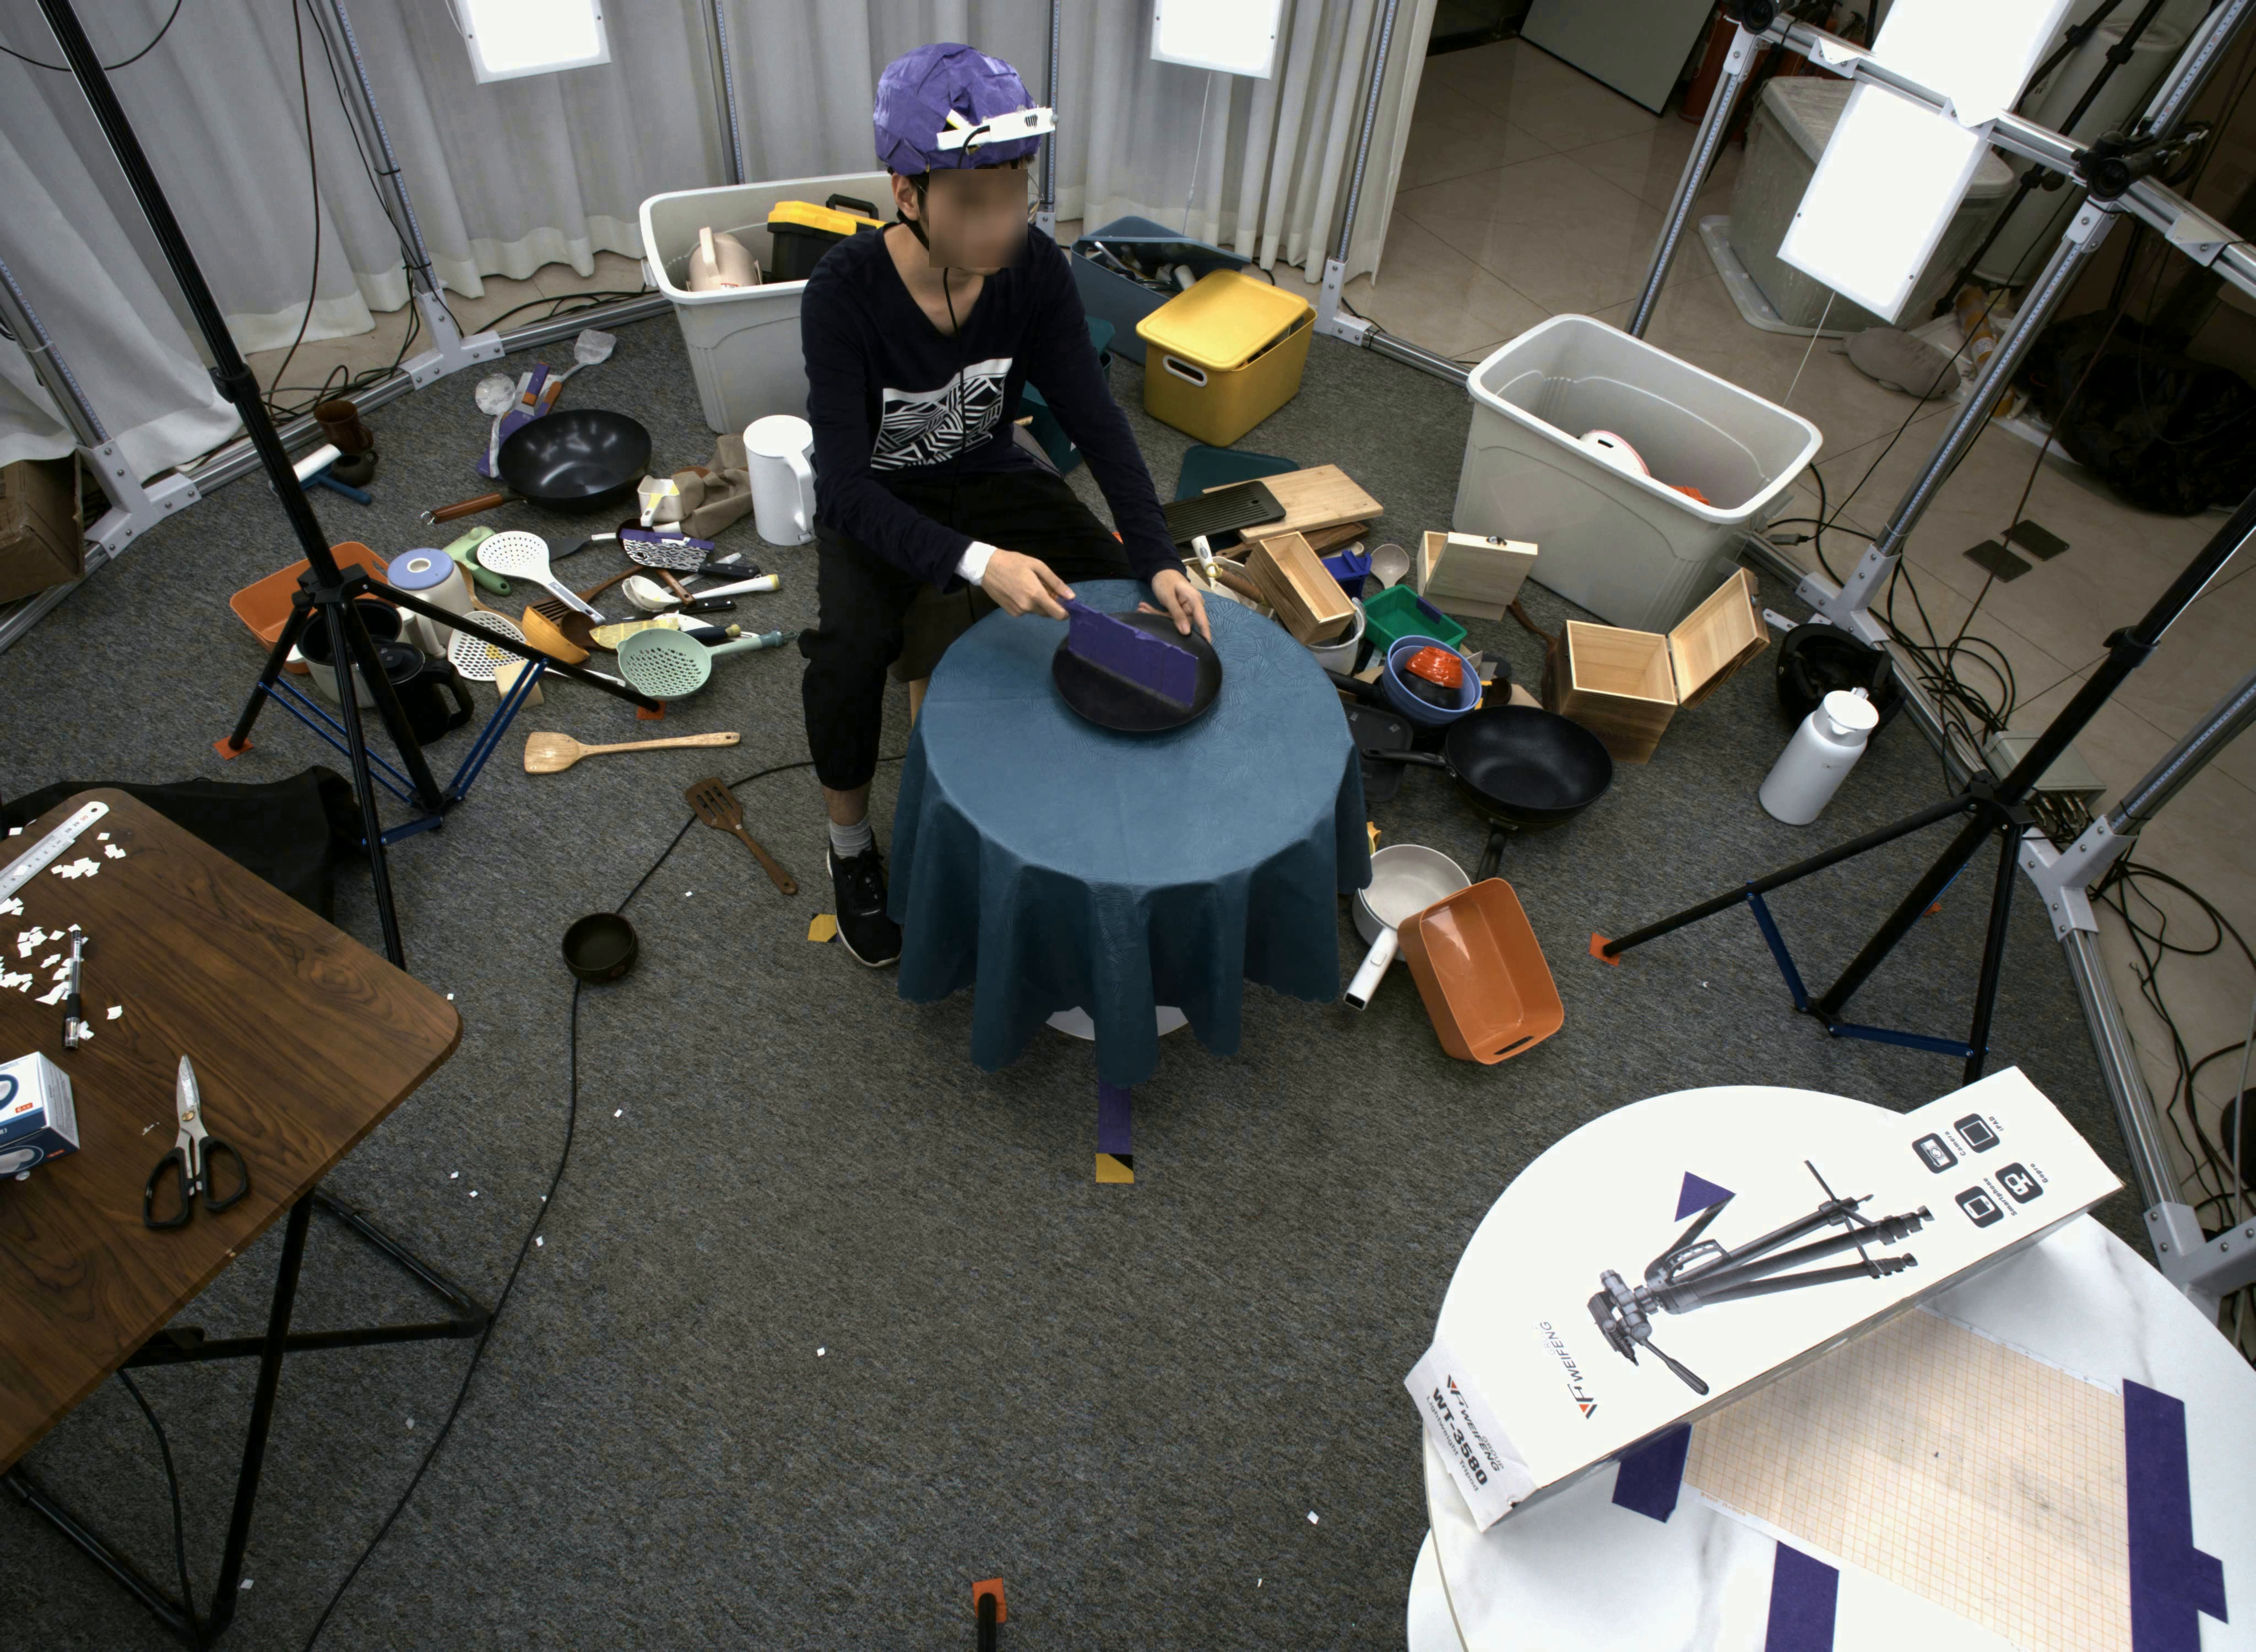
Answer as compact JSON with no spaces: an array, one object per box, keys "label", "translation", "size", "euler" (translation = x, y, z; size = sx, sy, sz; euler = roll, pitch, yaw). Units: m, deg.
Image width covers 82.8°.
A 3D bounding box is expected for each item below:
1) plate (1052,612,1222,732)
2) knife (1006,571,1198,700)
[{"label":"plate","translation":[0.012,-0.219,1.841],"size":[0.244,0.023,0.250],"euler":[2,50,-2]},{"label":"knife","translation":[-0.039,-0.264,1.810],"size":[0.318,0.101,0.032],"euler":[29,50,22]}]
